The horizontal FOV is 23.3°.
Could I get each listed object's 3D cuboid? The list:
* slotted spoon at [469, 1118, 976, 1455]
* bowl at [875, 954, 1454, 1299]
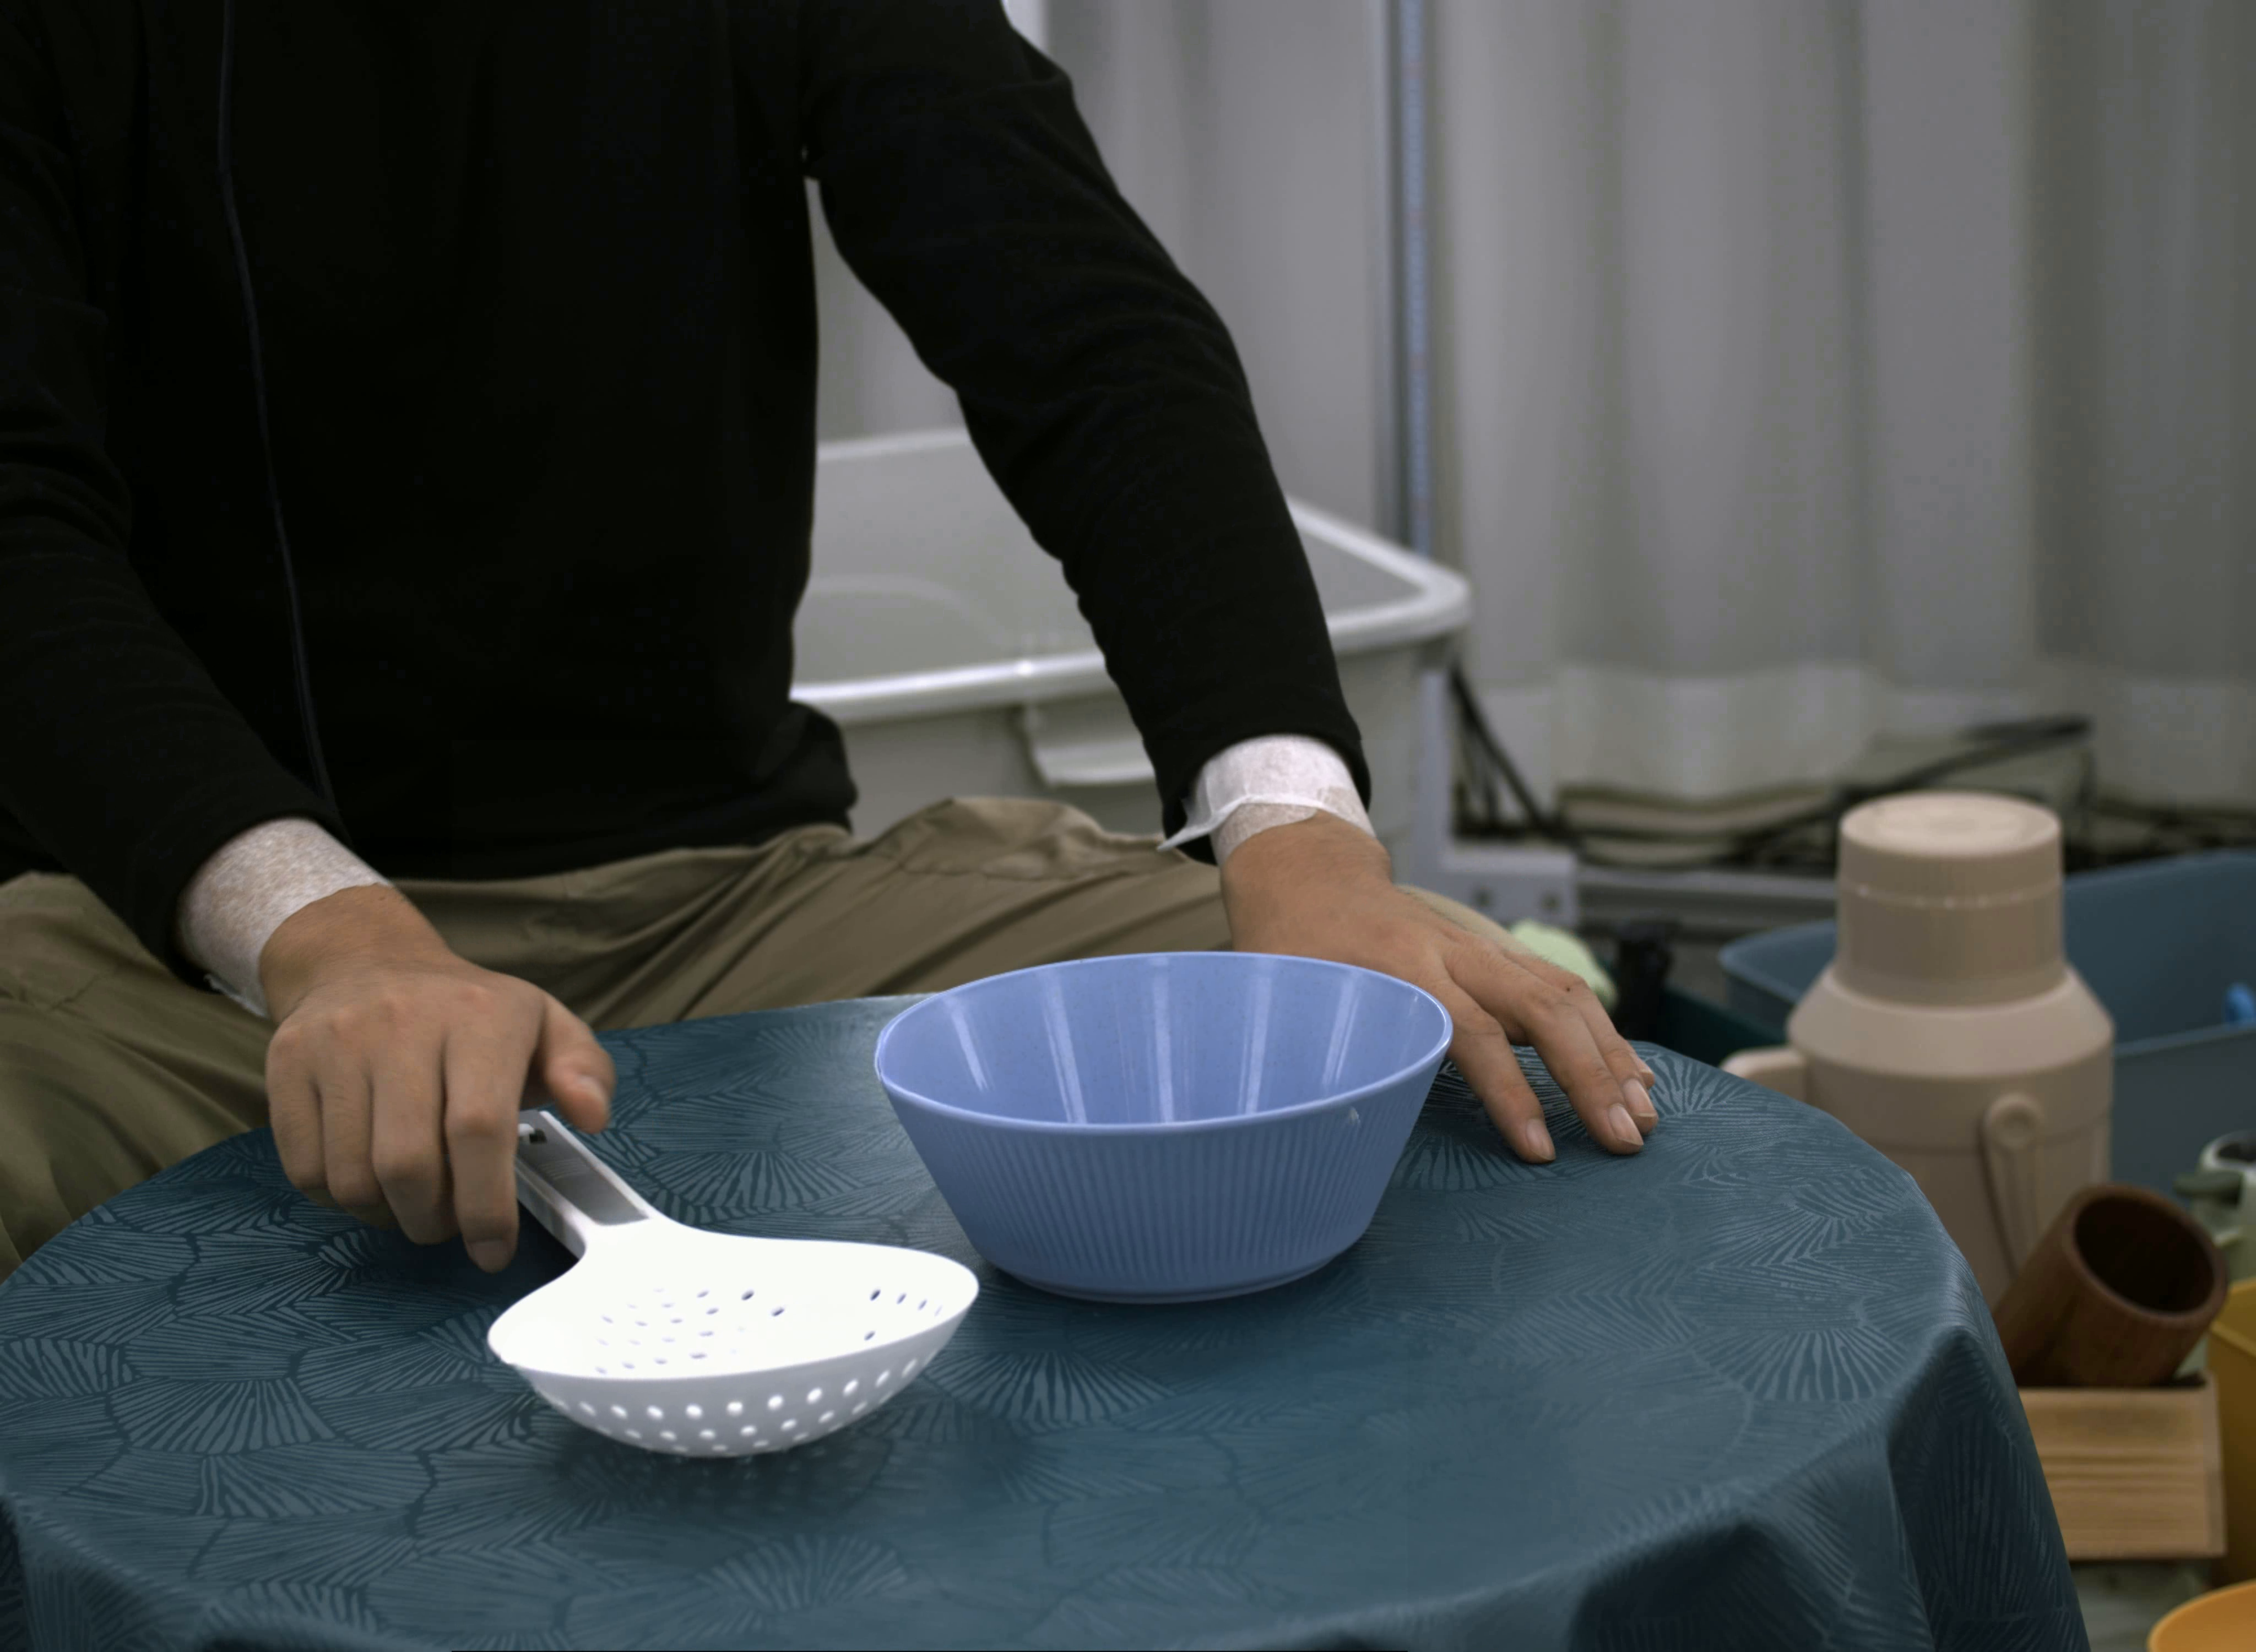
[{"bbox_3d":[-0.145,0.126,1.612,0.135,0.045,0.352,-9,15,-18],"label":"slotted spoon"},{"bbox_3d":[0.012,0.093,1.655,0.175,0.070,0.177,-2,14,0],"label":"bowl"}]
